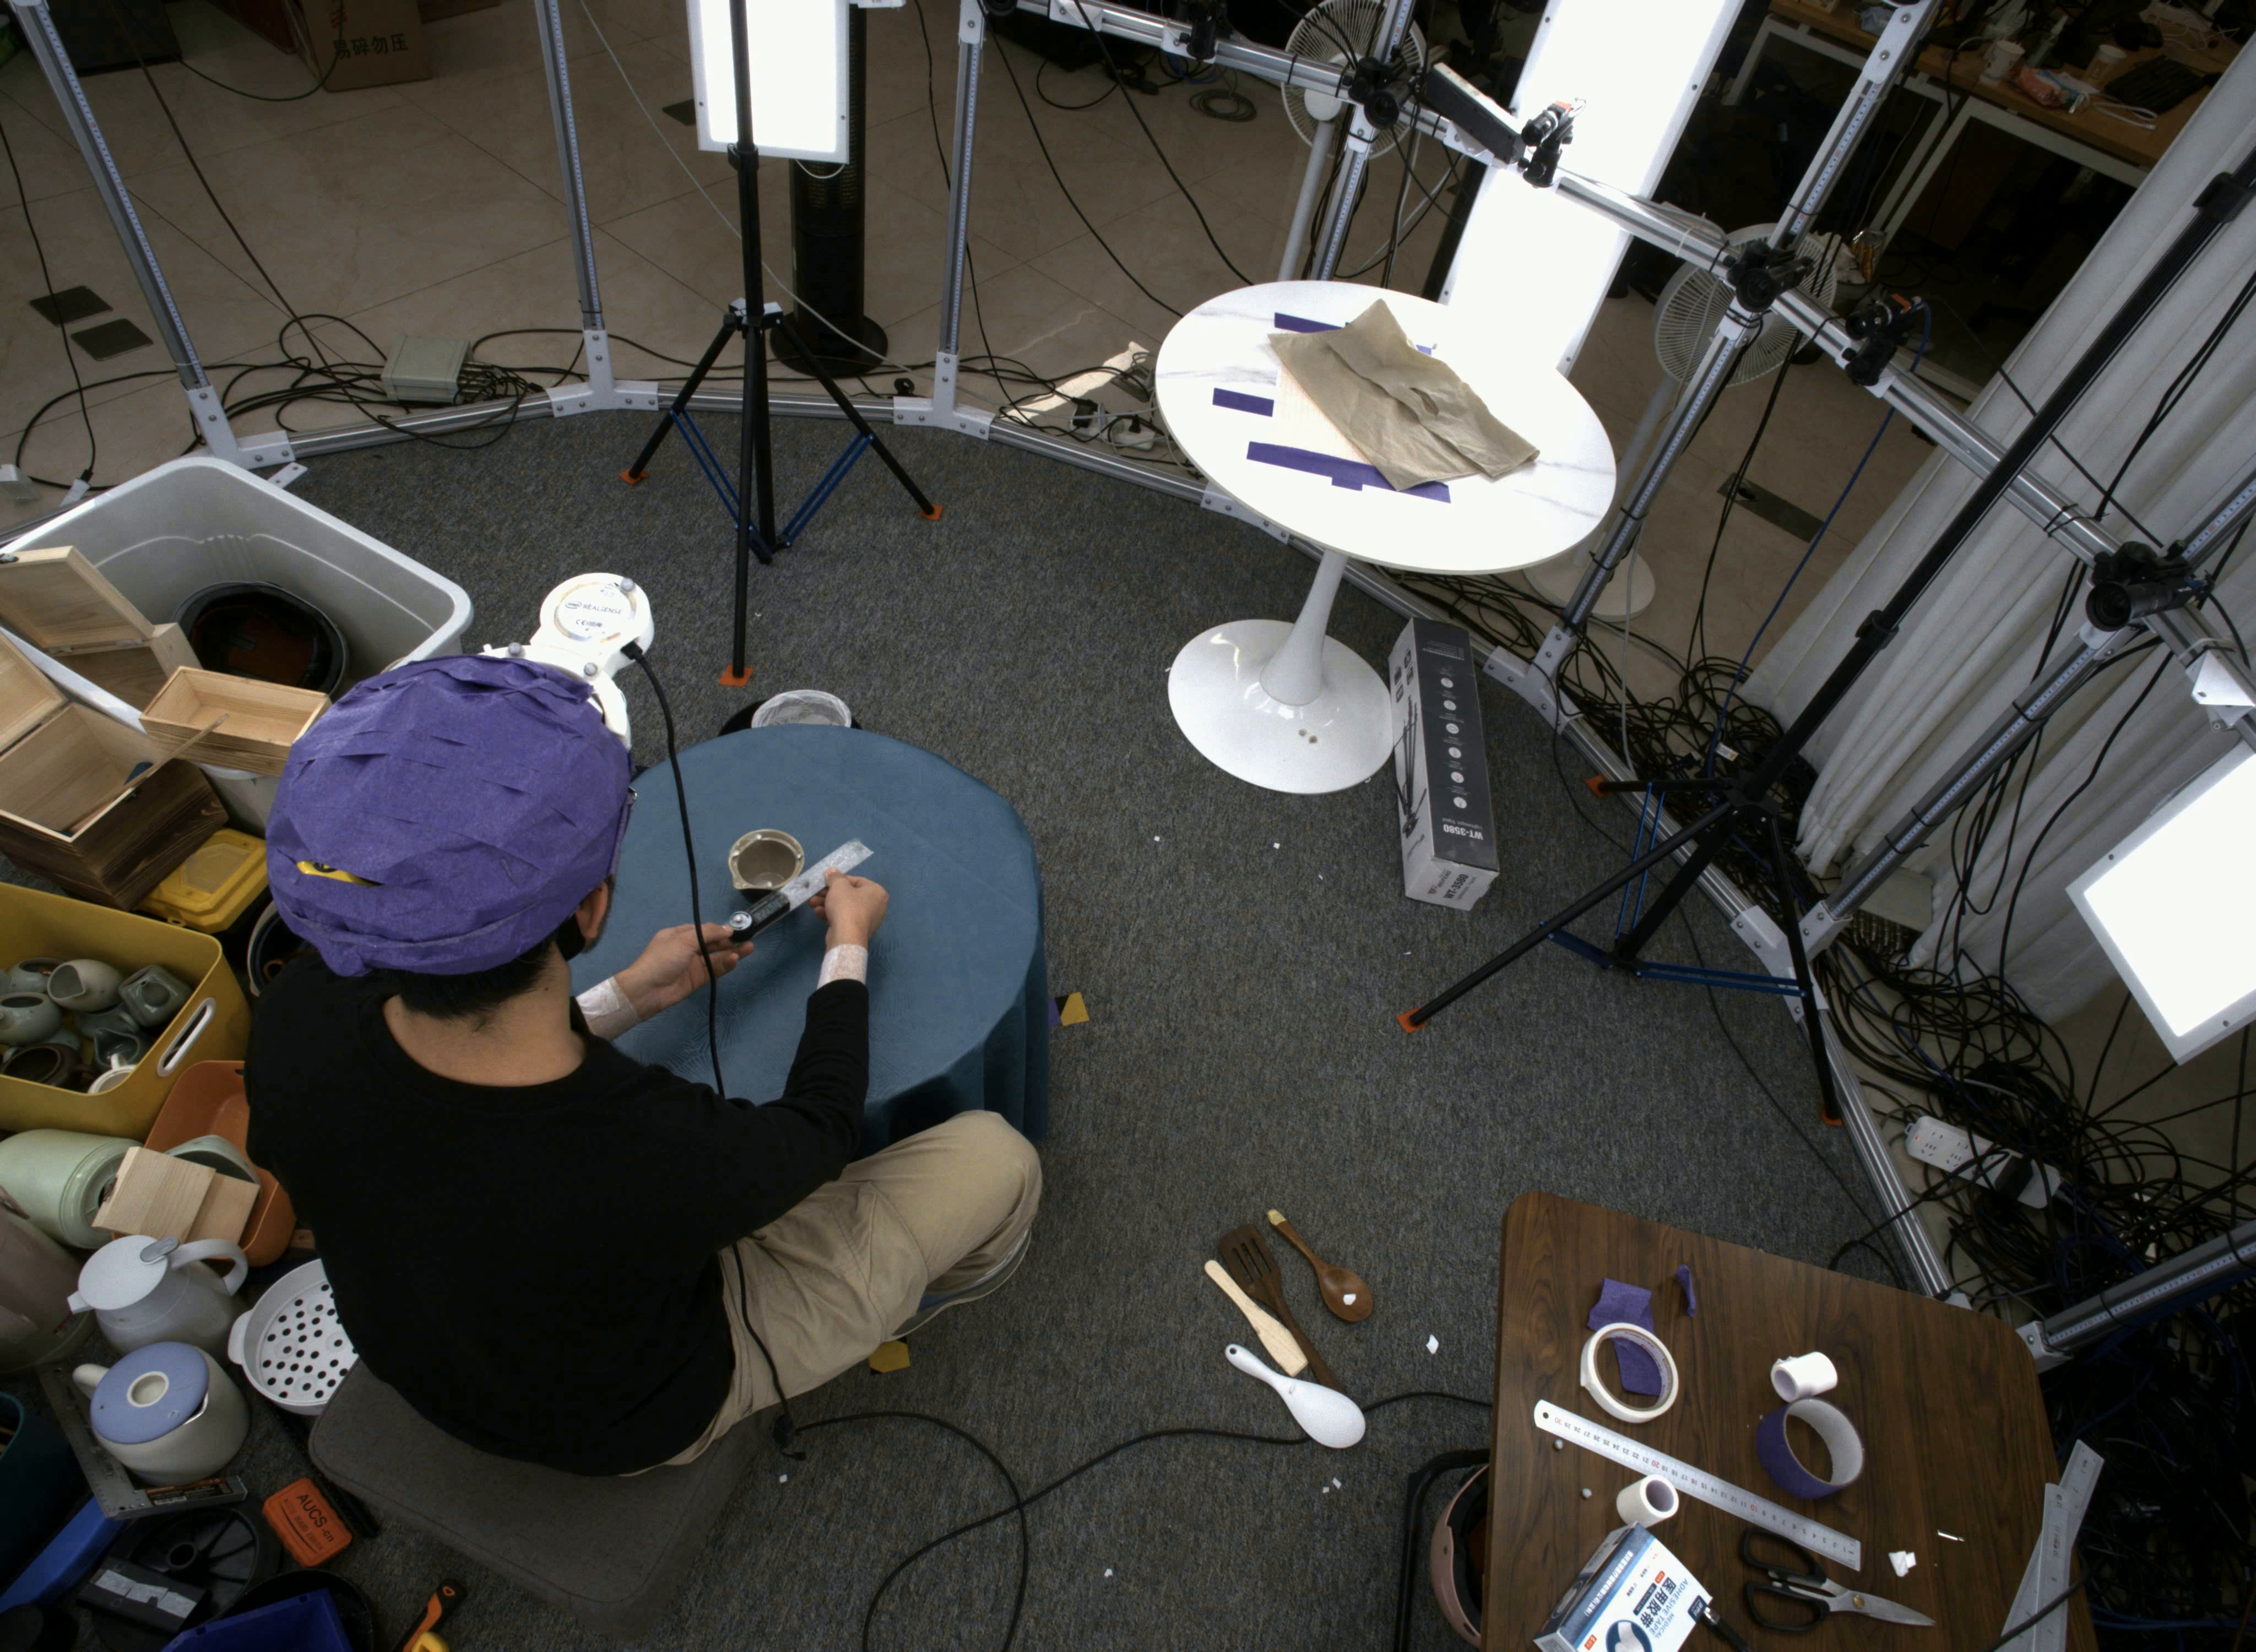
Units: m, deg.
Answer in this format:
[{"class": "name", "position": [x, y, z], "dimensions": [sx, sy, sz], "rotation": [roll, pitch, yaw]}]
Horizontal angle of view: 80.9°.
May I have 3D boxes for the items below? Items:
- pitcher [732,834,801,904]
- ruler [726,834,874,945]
[{"class": "pitcher", "position": [-0.454, 0.063, 1.616], "dimensions": [0.082, 0.073, 0.096], "rotation": [32, 52, 11]}, {"class": "ruler", "position": [-0.397, 0.069, 1.567], "dimensions": [0.037, 0.024, 0.218], "rotation": [38, 51, 15]}]
